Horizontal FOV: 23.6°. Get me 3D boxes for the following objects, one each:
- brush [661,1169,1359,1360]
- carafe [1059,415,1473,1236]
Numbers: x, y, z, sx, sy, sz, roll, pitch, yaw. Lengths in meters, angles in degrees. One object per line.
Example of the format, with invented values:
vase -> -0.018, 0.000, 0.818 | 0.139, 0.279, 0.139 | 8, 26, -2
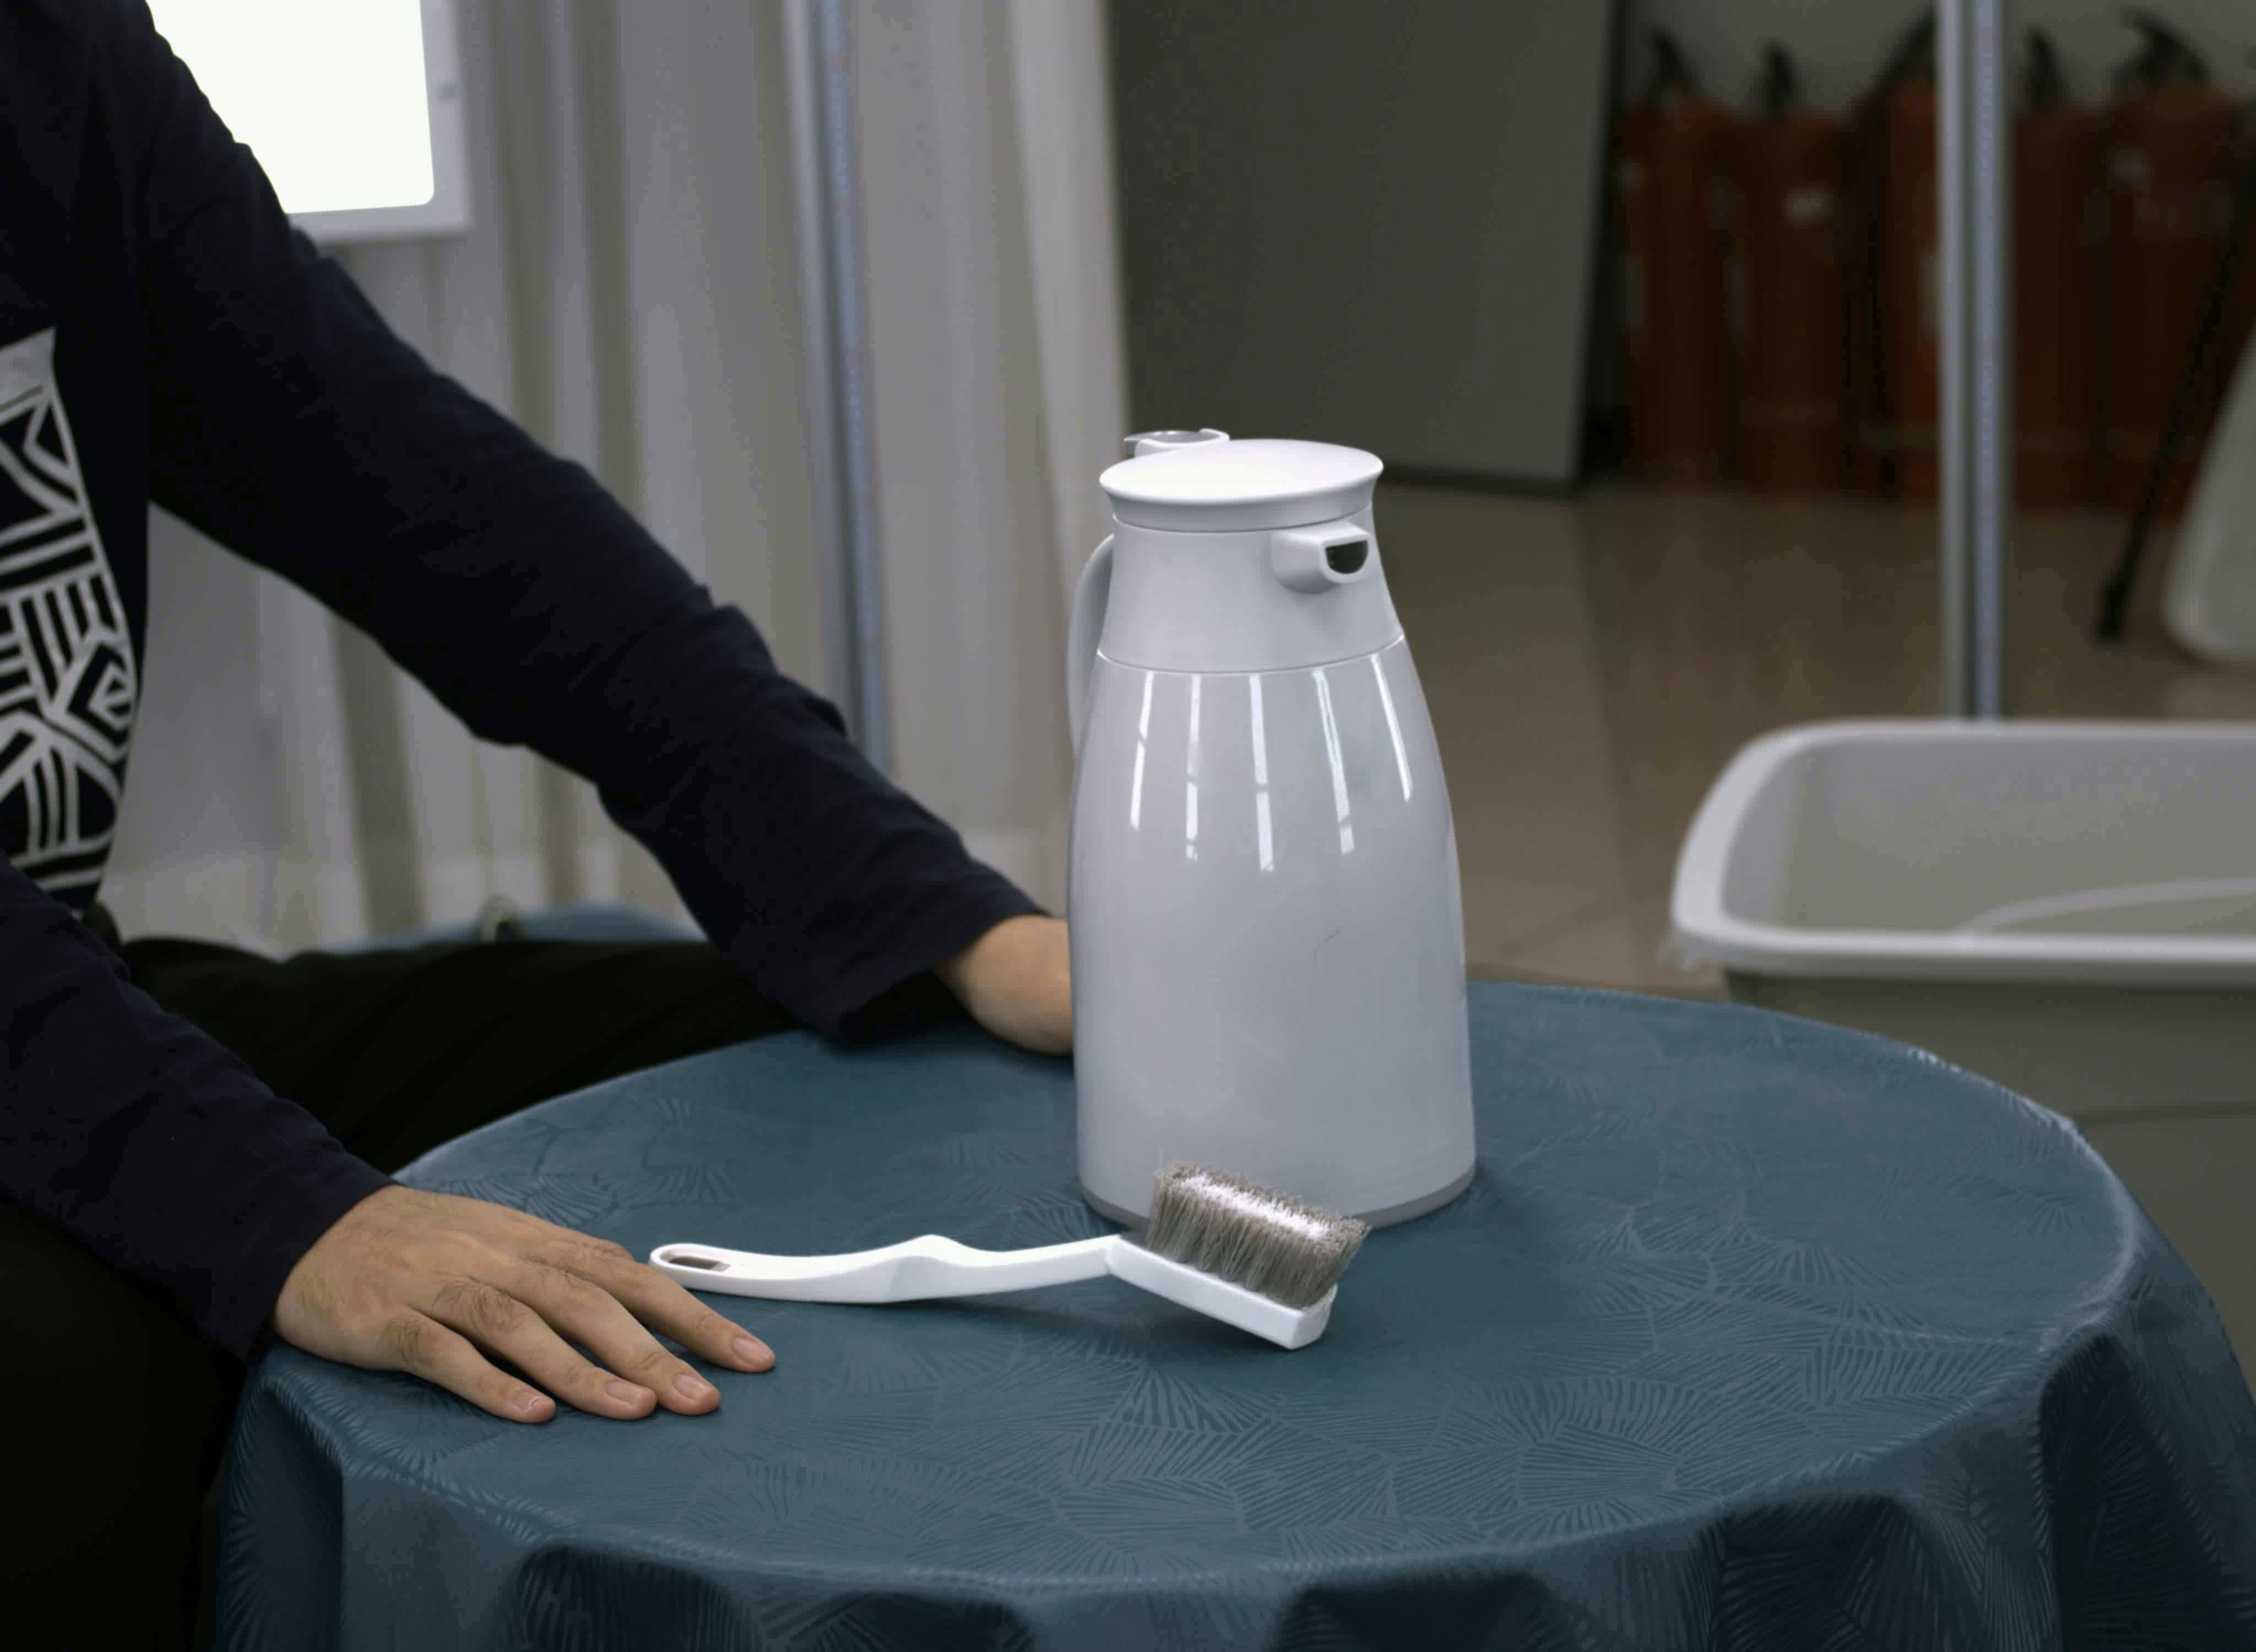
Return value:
brush -> -0.041, 0.127, 1.665 | 0.244, 0.051, 0.034 | 4, 19, 29
carafe -> 0.031, -0.006, 1.761 | 0.129, 0.251, 0.169 | -12, 15, -30
